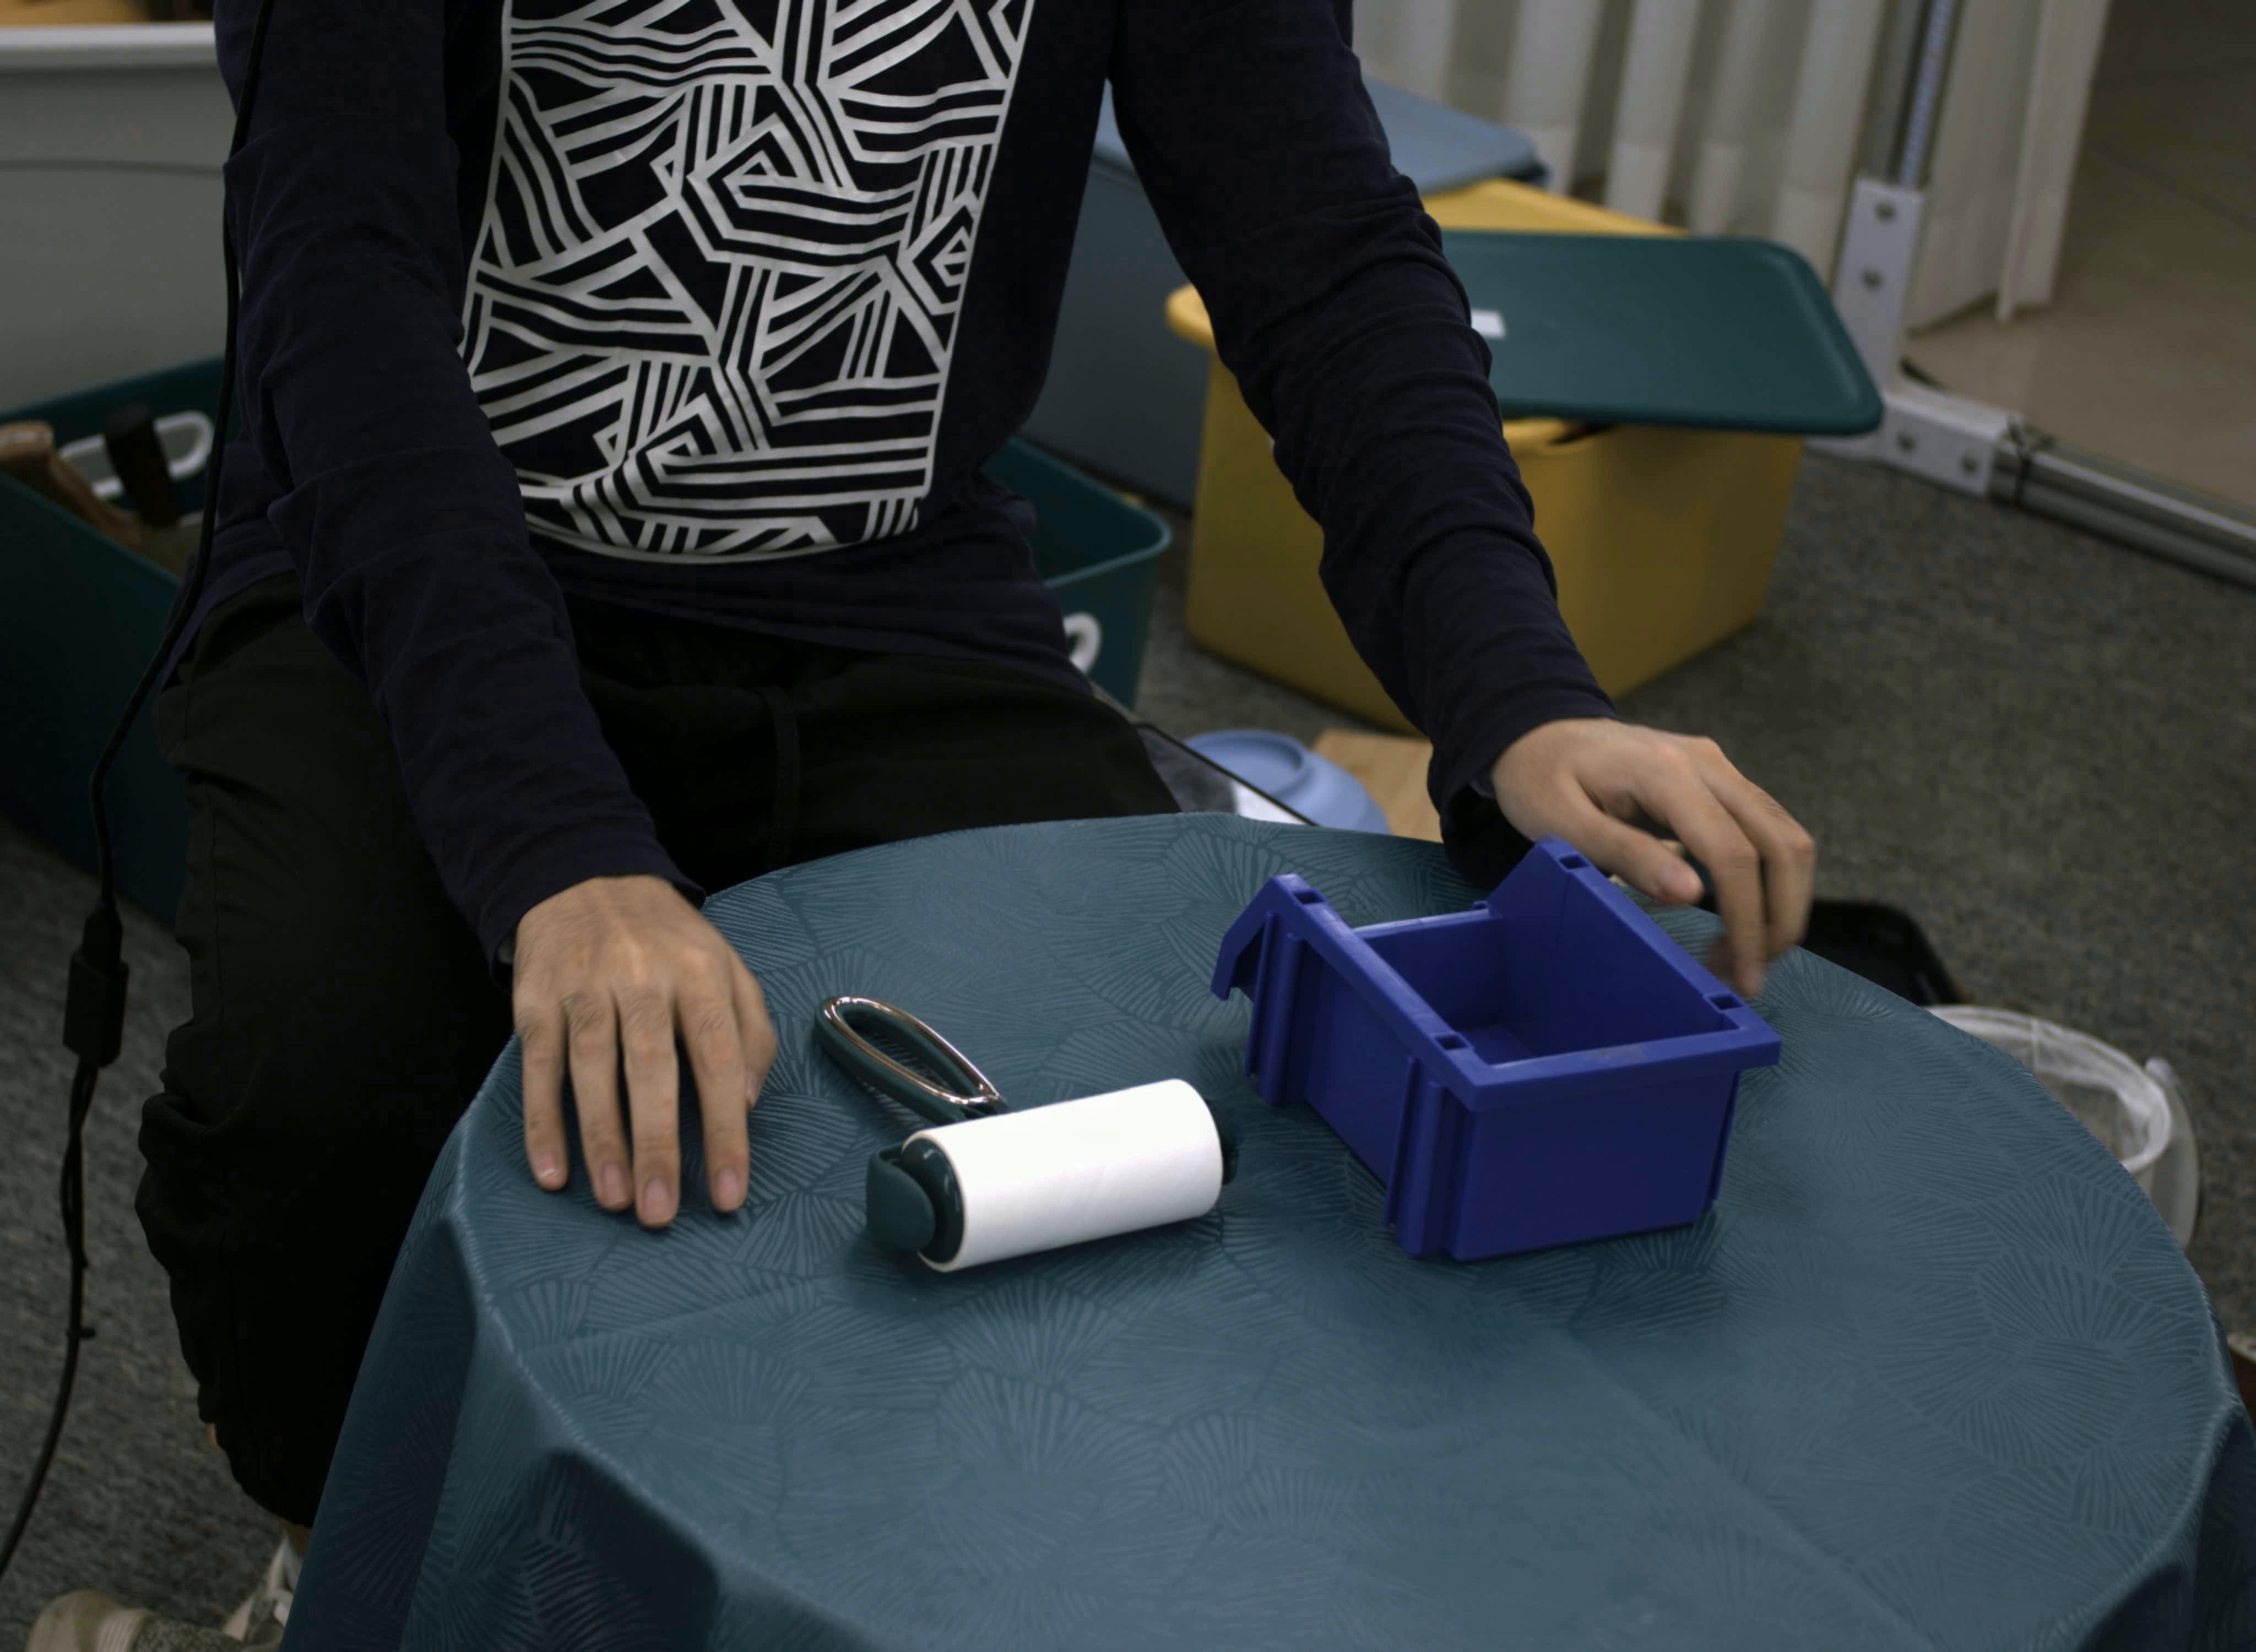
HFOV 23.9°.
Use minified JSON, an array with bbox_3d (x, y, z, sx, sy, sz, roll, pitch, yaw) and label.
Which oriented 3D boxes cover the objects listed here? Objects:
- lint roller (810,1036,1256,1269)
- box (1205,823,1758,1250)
[{"bbox_3d":[-0.058,0.090,1.816,0.133,0.048,0.181,-10,27,-30],"label":"lint roller"},{"bbox_3d":[0.117,0.068,1.852,0.124,0.081,0.181,-7,32,-23],"label":"box"}]
